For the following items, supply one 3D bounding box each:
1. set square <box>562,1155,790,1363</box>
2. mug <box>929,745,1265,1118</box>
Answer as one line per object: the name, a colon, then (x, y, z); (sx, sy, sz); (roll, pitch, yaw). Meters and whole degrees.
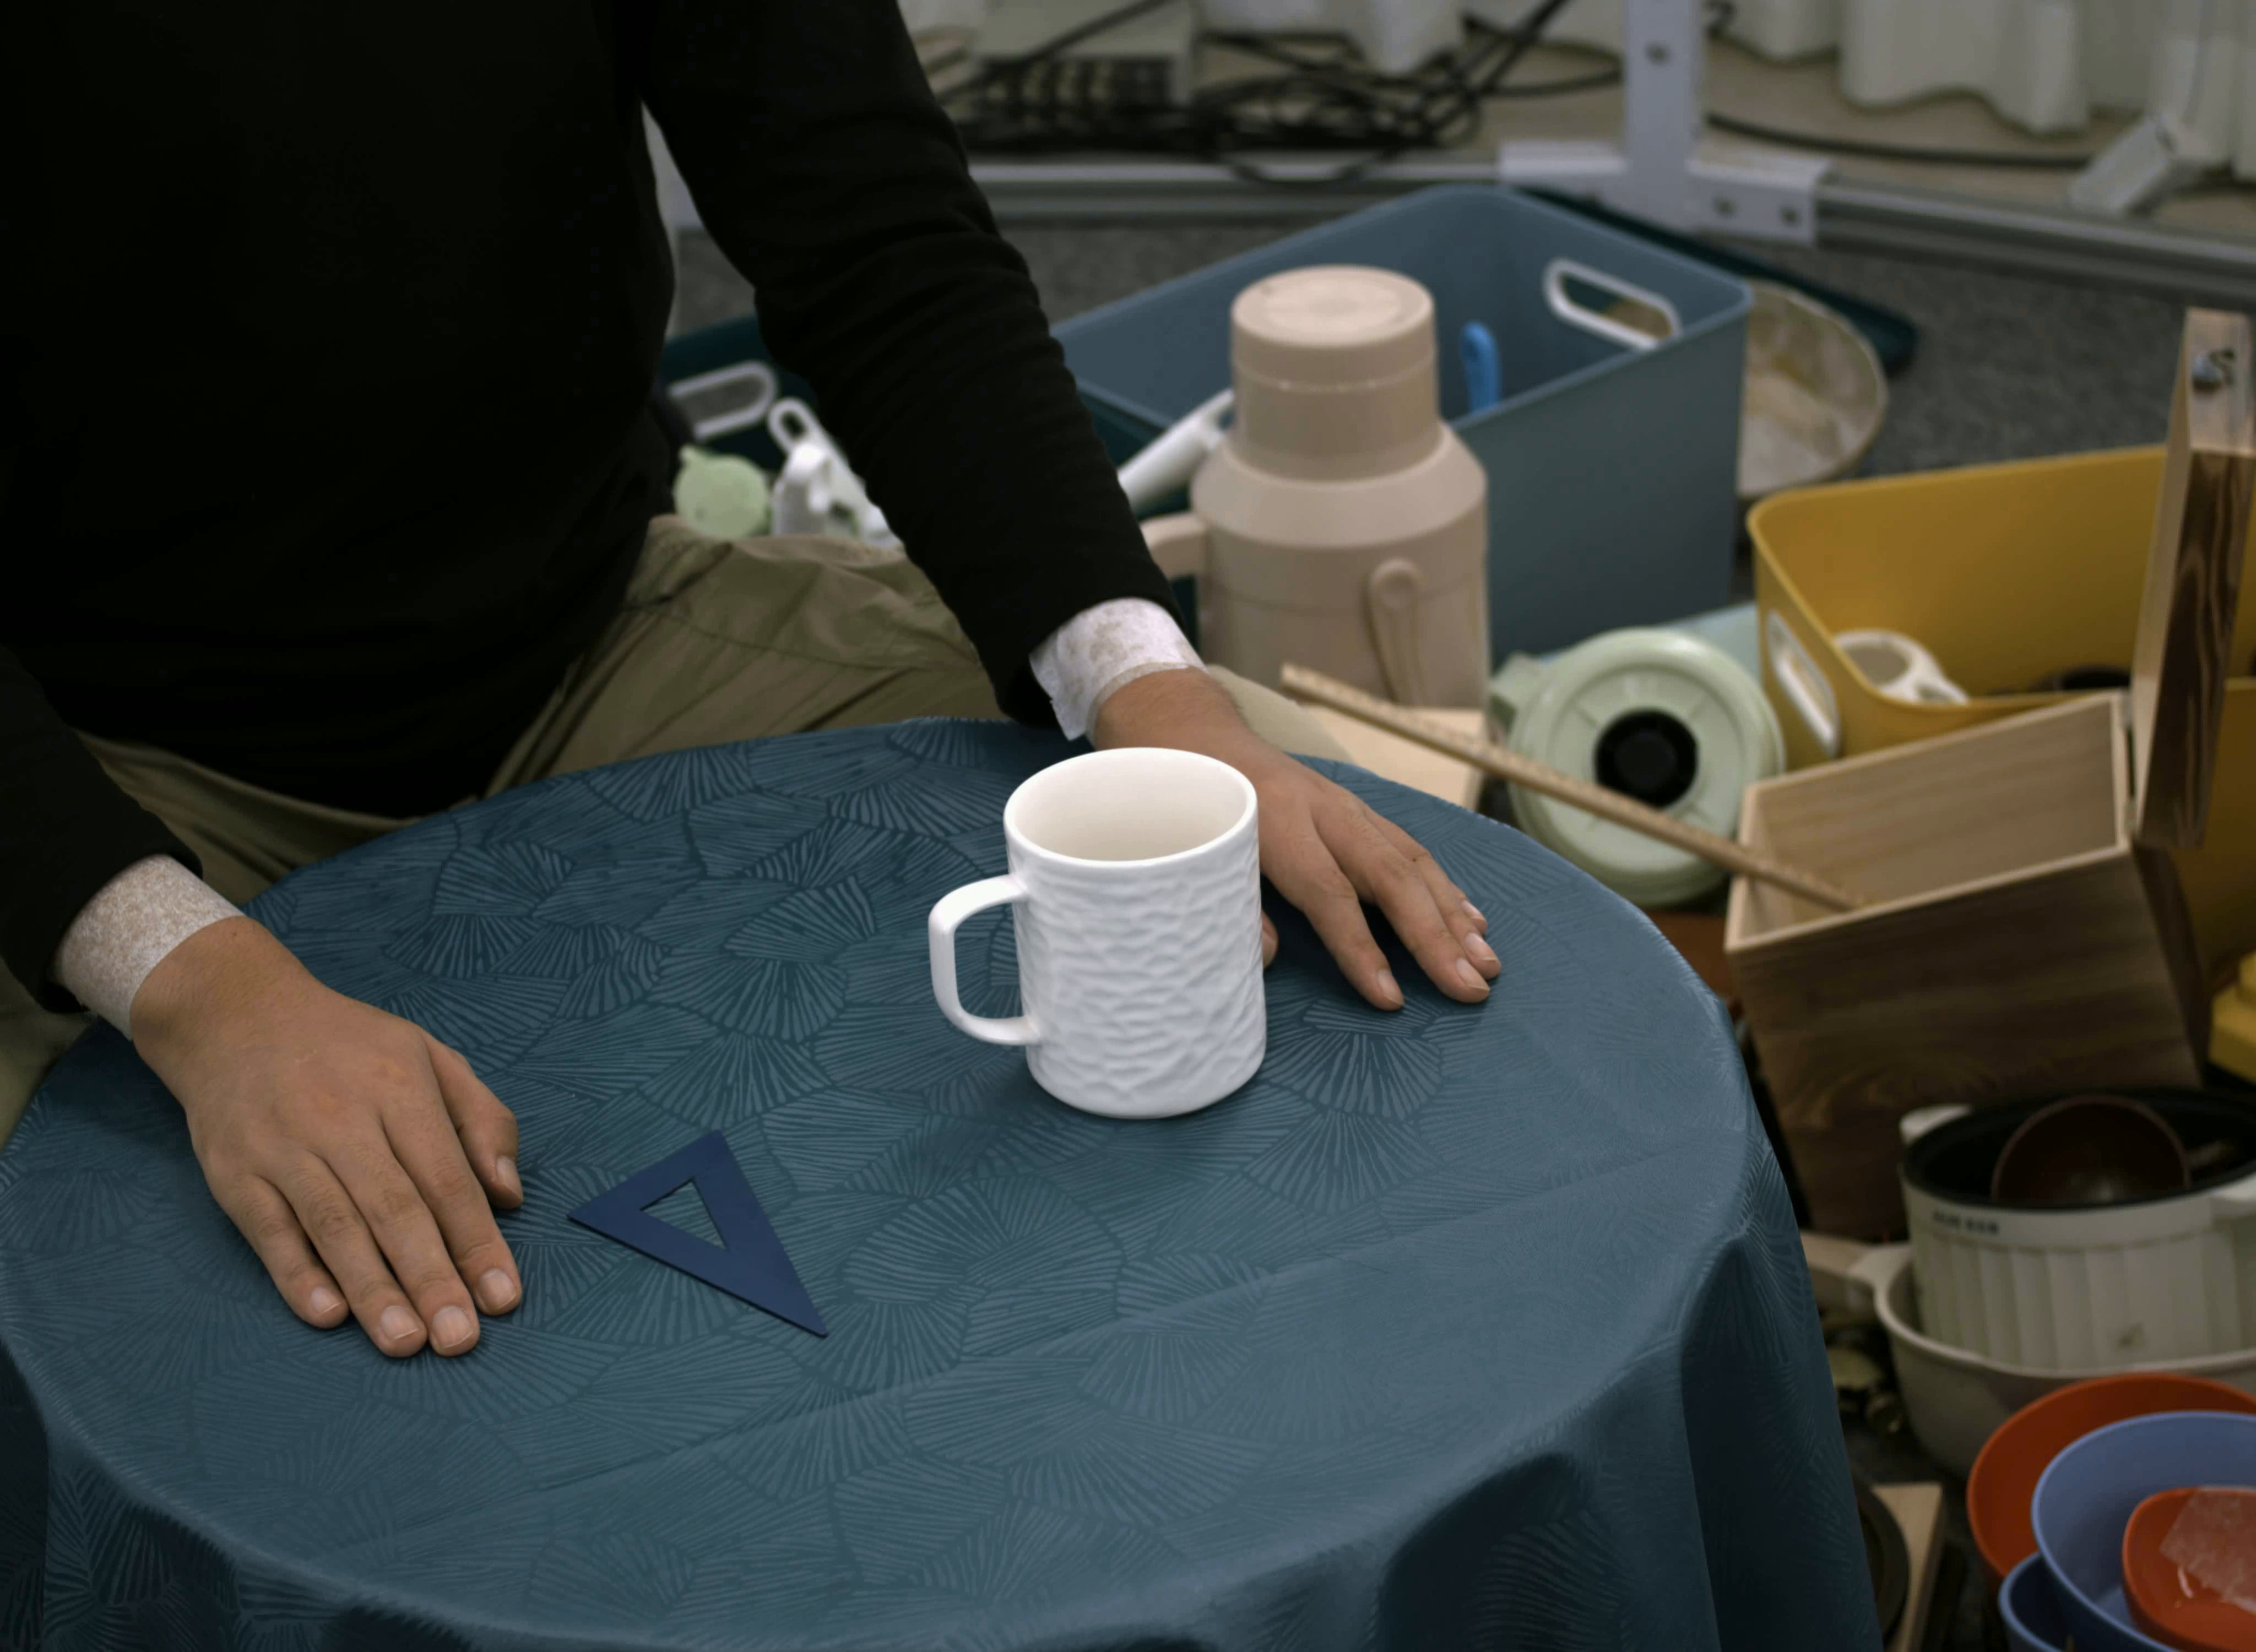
set square: (-0.149, 0.143, 1.829); (0.061, 0.006, 0.133); (-7, 28, -12)
mug: (-0.010, 0.040, 1.908); (0.119, 0.101, 0.085); (-14, 29, -21)
